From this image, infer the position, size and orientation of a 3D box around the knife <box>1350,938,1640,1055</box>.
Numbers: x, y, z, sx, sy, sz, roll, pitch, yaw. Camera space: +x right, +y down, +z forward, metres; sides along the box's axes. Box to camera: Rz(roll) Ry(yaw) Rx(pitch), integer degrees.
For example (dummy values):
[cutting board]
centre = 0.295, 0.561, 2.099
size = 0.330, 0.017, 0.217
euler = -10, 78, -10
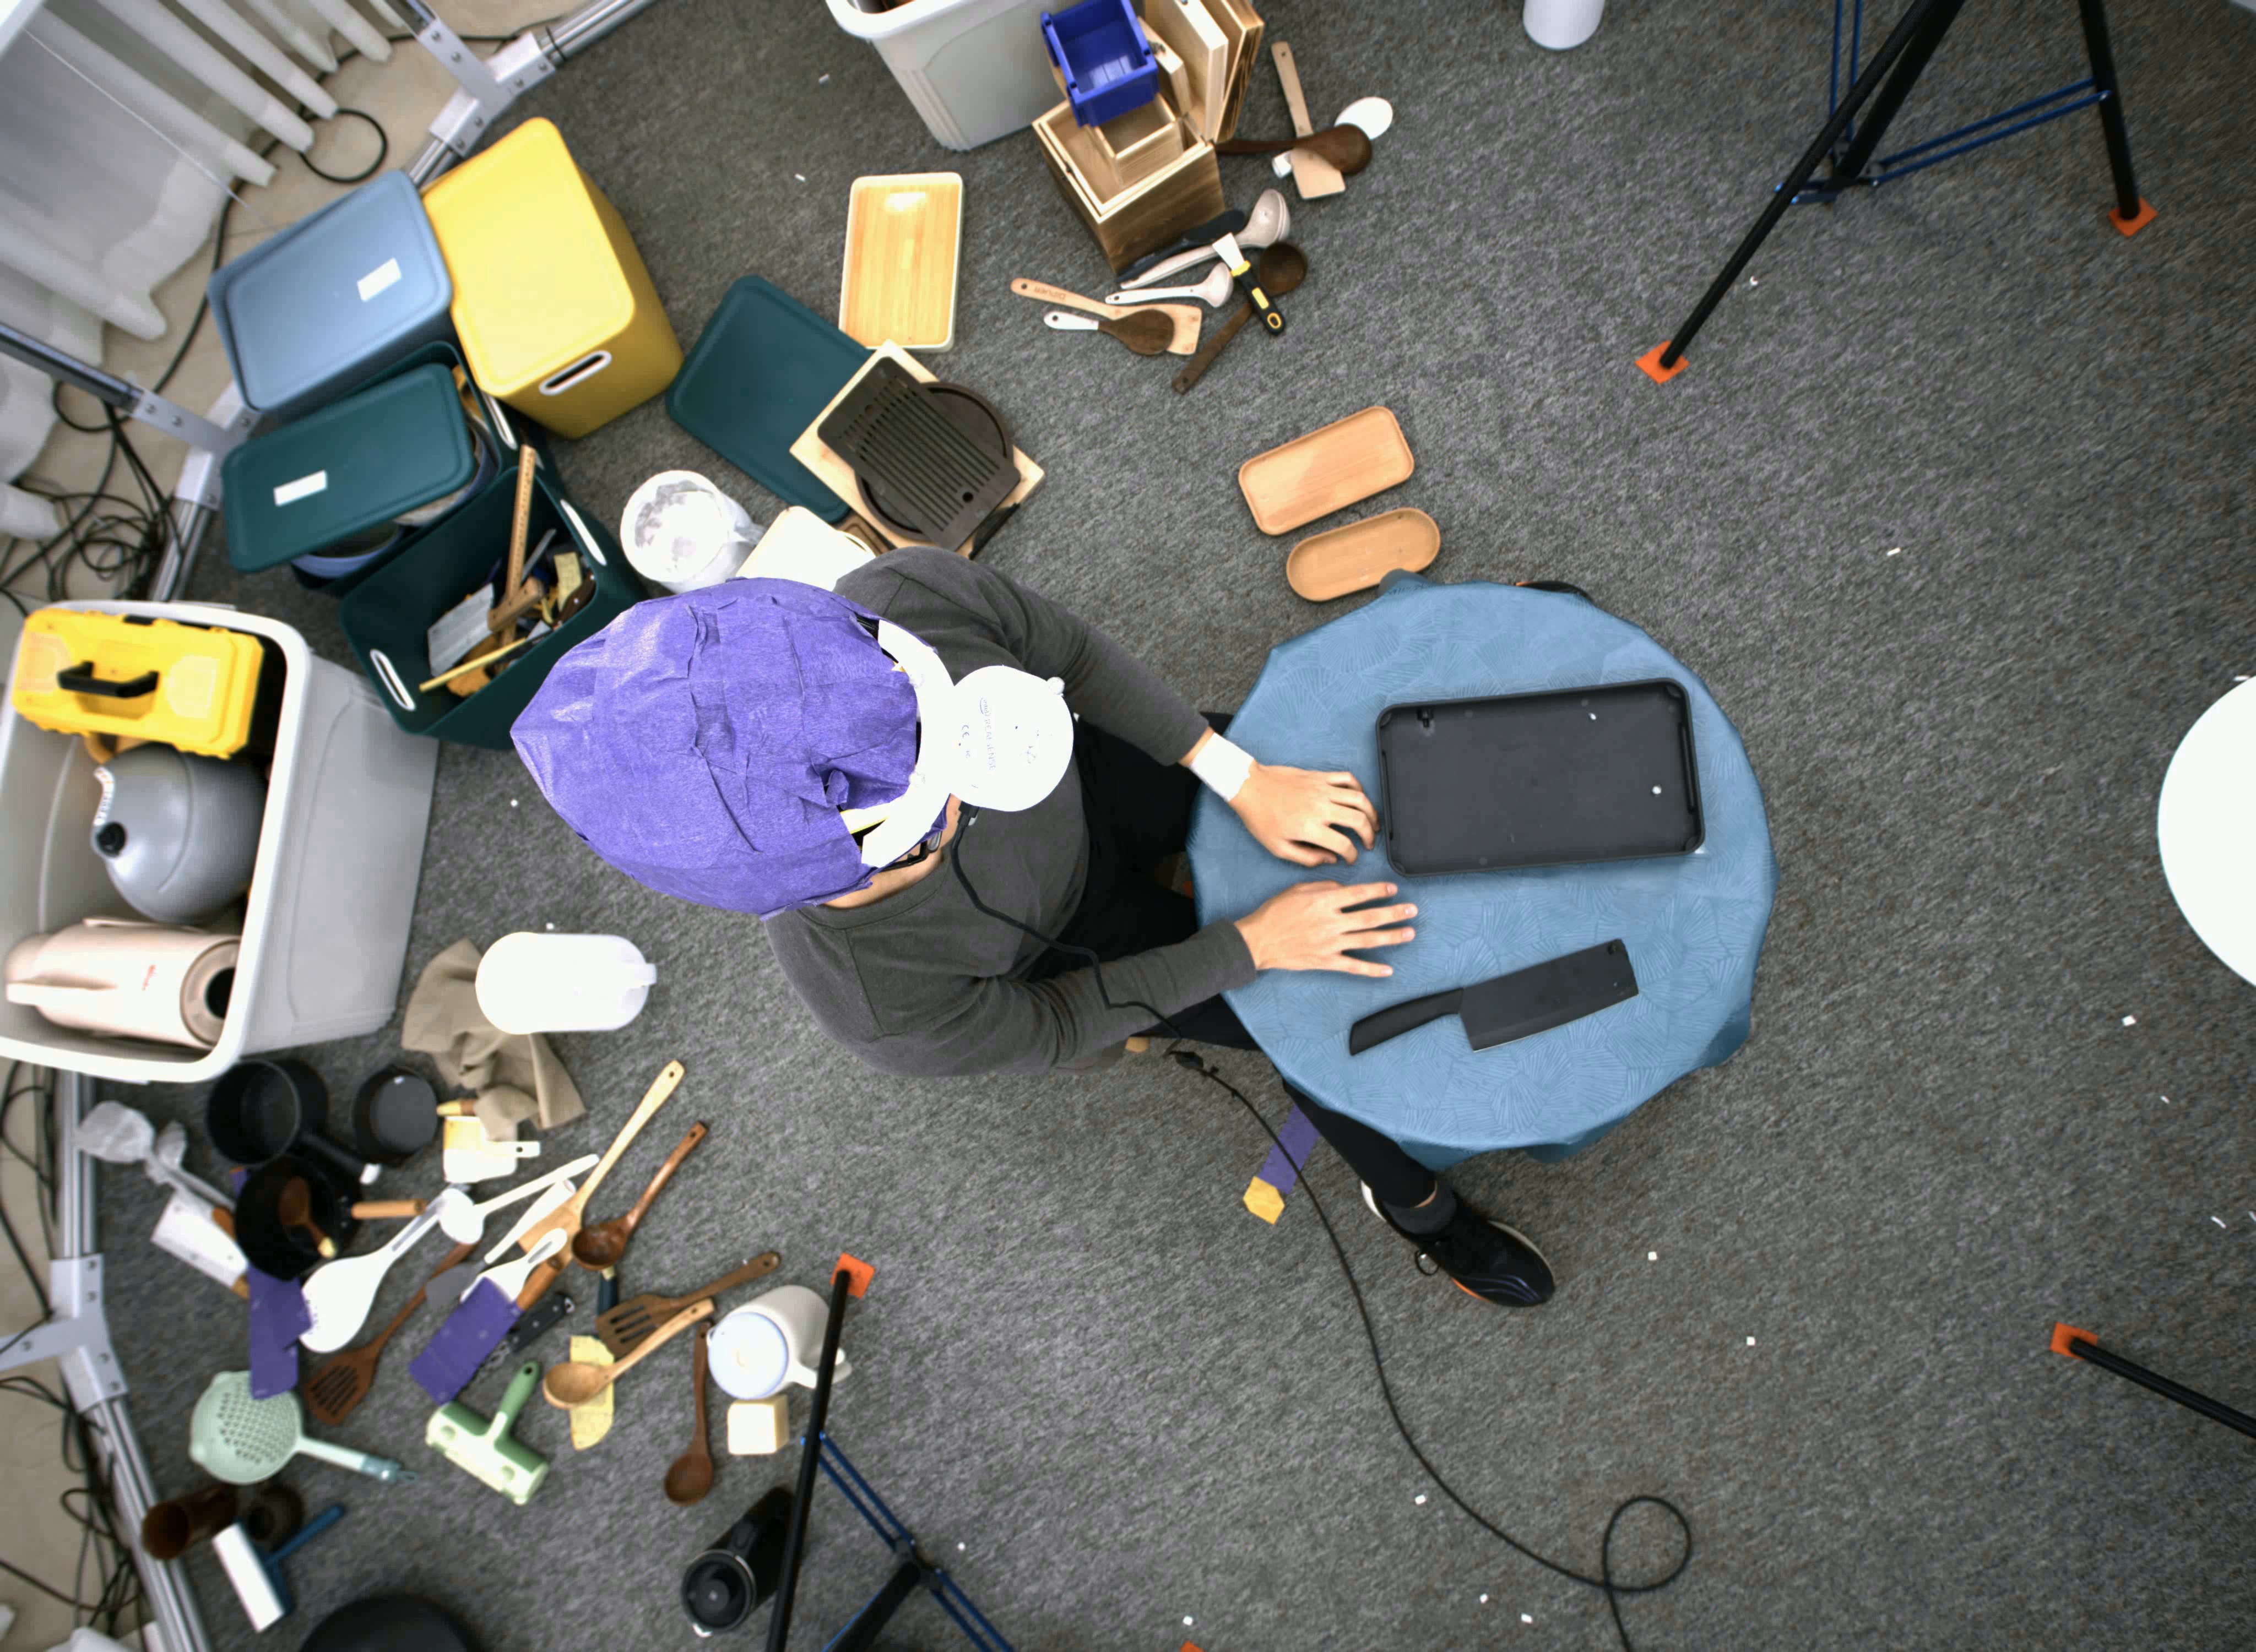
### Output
[knife]
centre = 0.376, 0.186, 1.427
size = 0.304, 0.021, 0.080
euler = -15, 85, 8

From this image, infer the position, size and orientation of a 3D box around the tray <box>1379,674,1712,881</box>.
[tray]
centre = 0.427, -0.050, 1.419
size = 0.319, 0.037, 0.183
euler = -7, 86, 11
